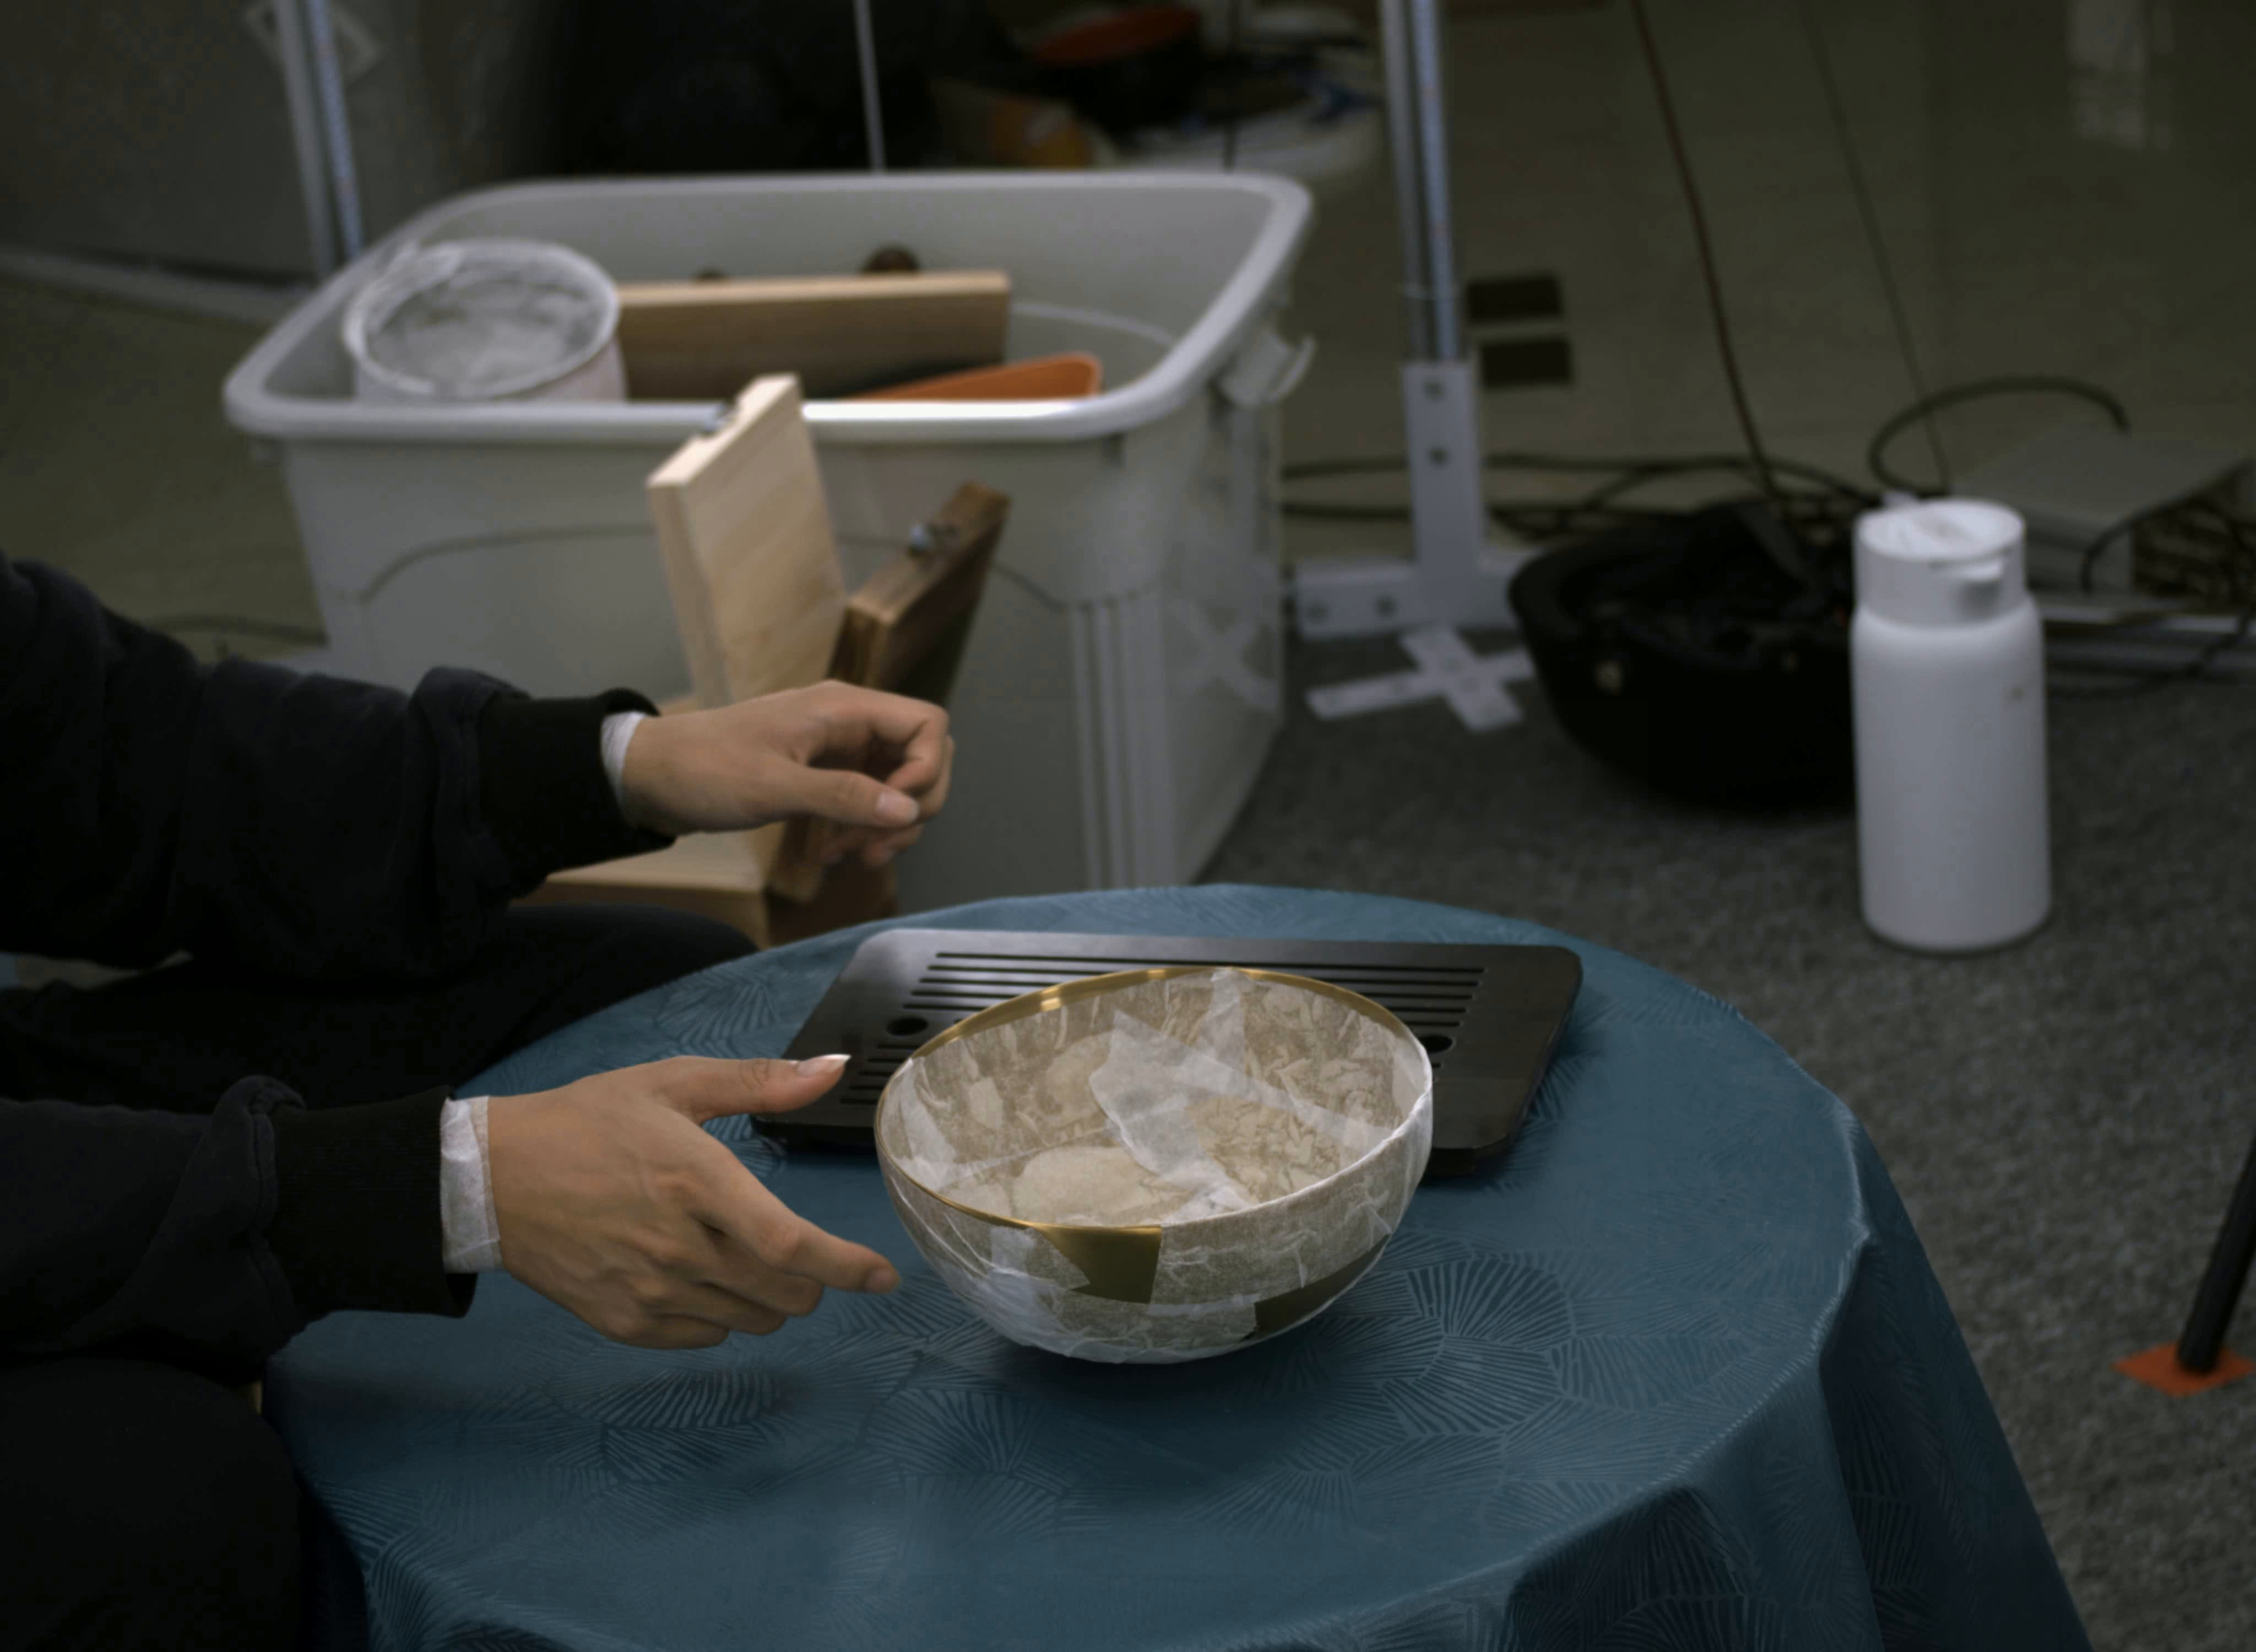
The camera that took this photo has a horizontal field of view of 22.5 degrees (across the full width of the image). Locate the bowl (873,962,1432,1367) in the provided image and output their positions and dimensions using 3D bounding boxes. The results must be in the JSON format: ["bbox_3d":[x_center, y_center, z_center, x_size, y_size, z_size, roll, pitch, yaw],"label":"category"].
[{"bbox_3d":[0.011,0.133,2.051,0.214,0.096,0.211,-6,26,3],"label":"bowl"}]

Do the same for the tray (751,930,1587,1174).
[{"bbox_3d":[0.018,0.088,2.237,0.305,0.019,0.168,1,26,16],"label":"tray"}]
